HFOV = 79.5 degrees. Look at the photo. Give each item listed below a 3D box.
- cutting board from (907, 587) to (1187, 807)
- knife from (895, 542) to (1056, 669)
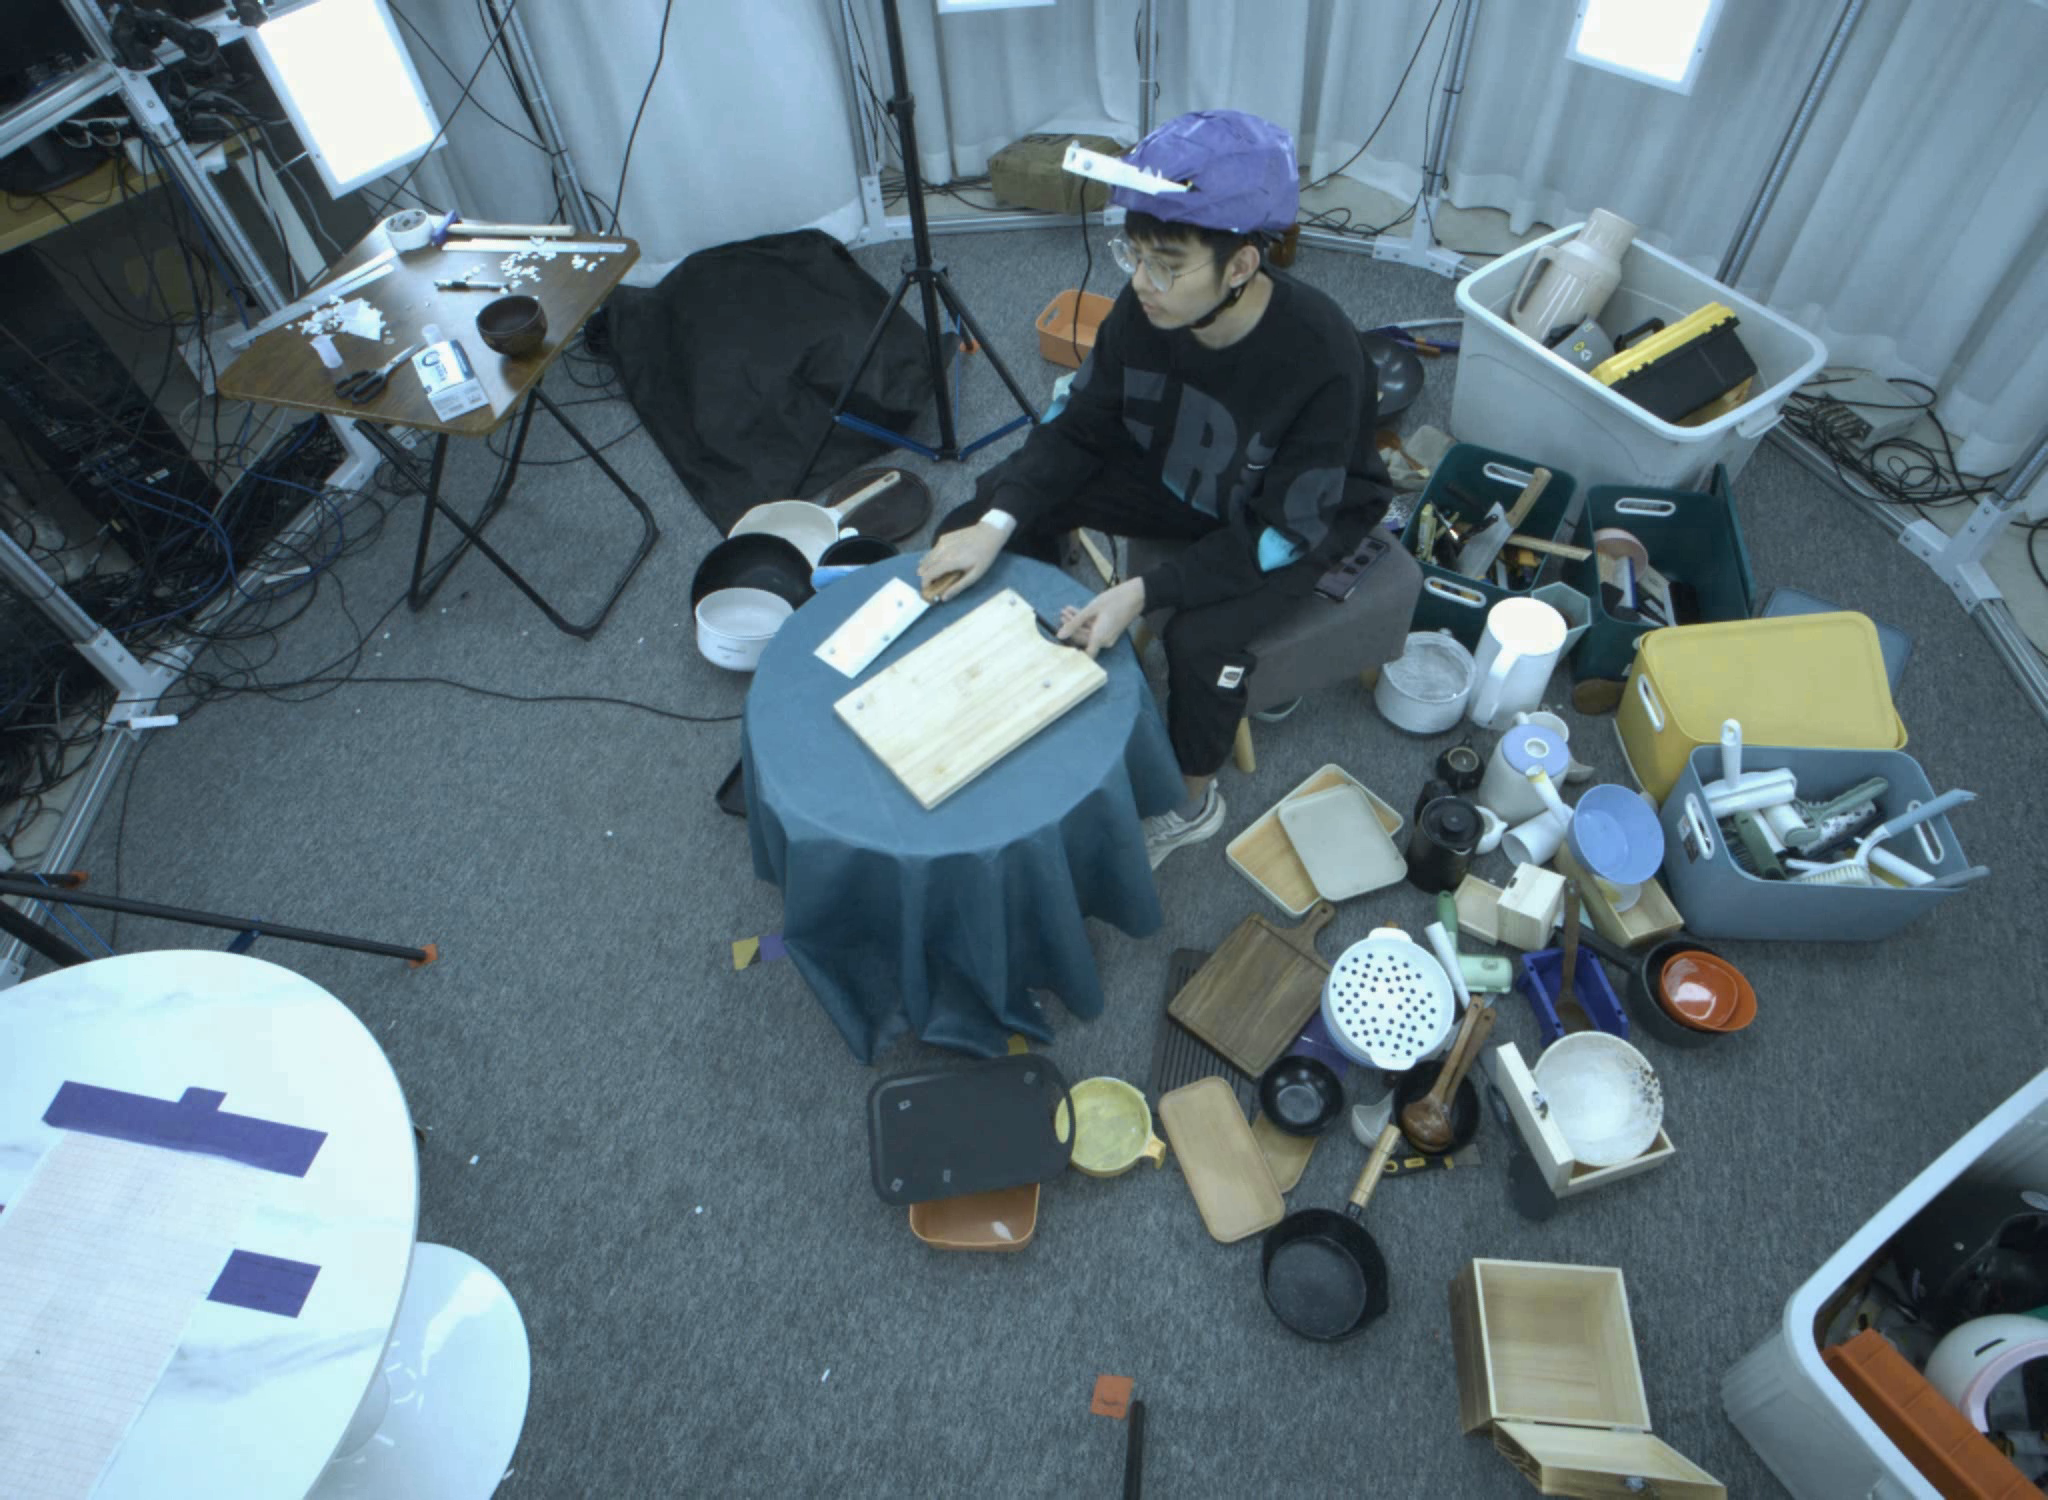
[{"bbox_3d":[0.030,-0.088,1.829,0.351,0.024,0.246,-33,60,-16],"label":"cutting board"},{"bbox_3d":[-0.080,-0.242,1.945,0.091,0.021,0.307,37,68,26],"label":"knife"}]
